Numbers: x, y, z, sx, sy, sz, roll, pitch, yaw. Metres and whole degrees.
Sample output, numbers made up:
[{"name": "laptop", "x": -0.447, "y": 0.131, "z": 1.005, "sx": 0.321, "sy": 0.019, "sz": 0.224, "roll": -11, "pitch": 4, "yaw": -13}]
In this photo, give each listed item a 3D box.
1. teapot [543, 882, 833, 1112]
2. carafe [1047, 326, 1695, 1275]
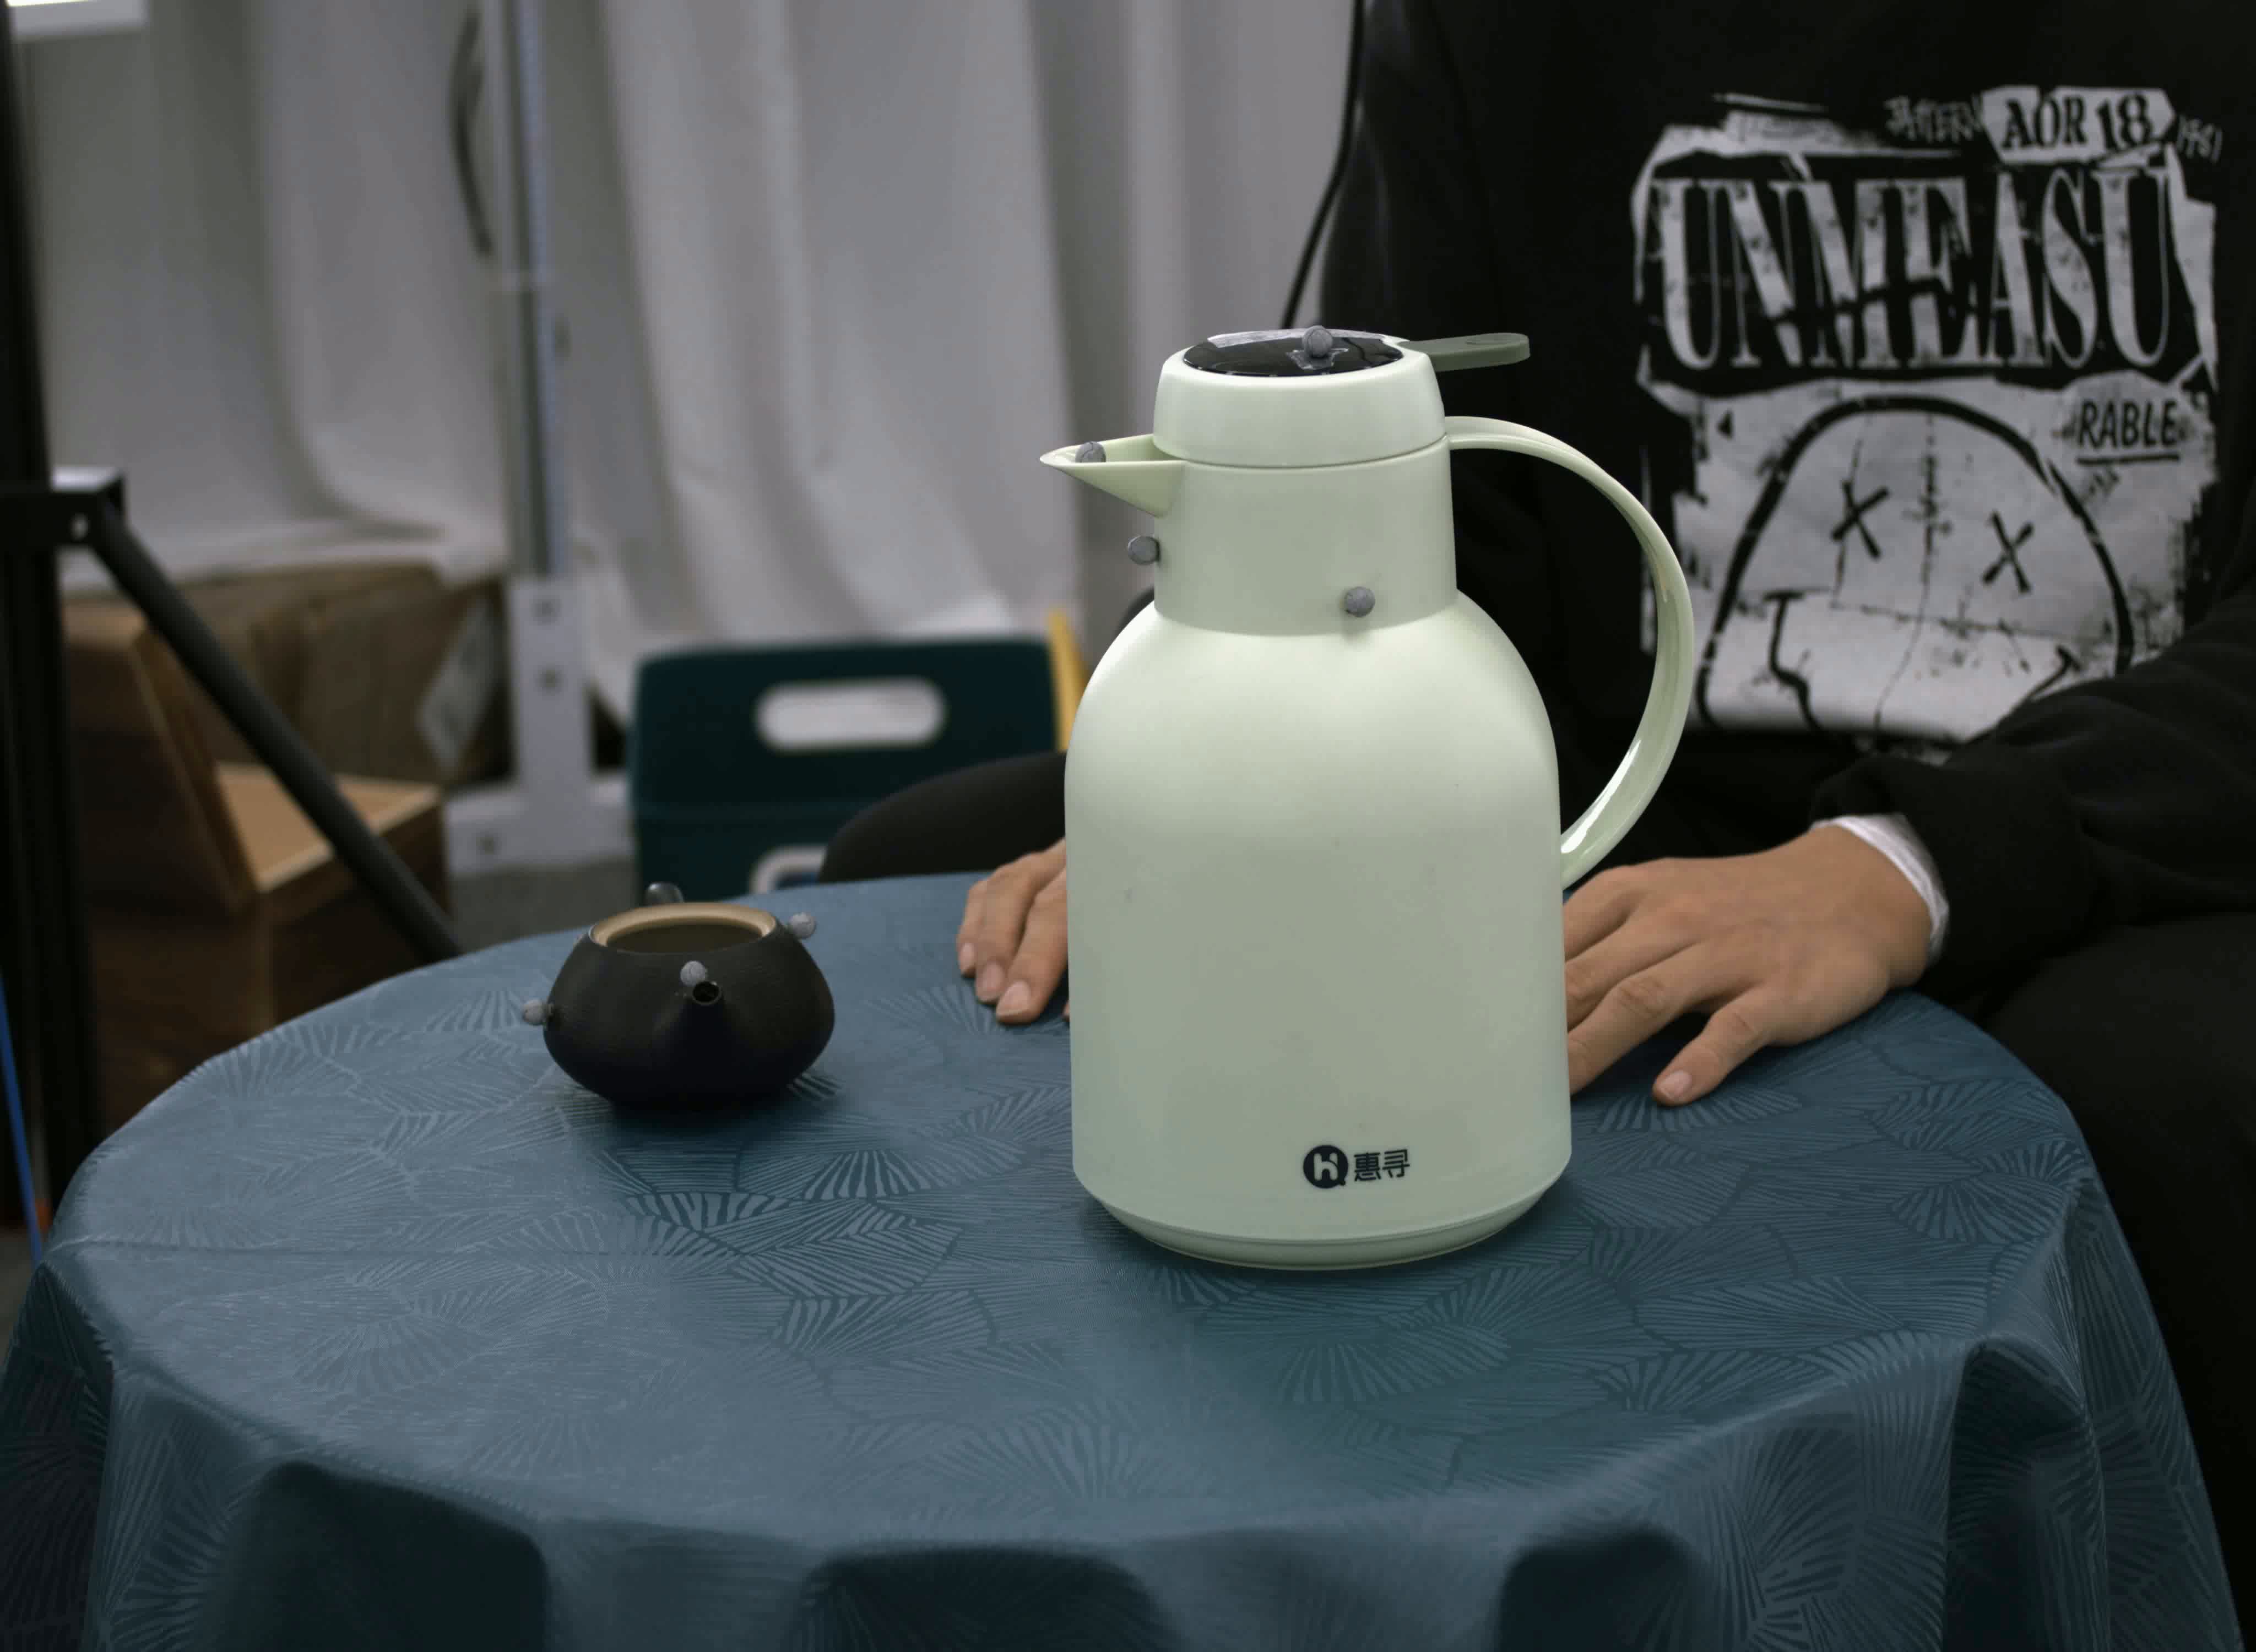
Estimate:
[{"name": "teapot", "x": -0.137, "y": 0.056, "z": 1.662, "sx": 0.090, "sy": 0.053, "sz": 0.135, "roll": -3, "pitch": 16, "yaw": -10}, {"name": "carafe", "x": 0.066, "y": -0.011, "z": 1.509, "sx": 0.184, "sy": 0.257, "sz": 0.146, "roll": -1, "pitch": 13, "yaw": -9}]
